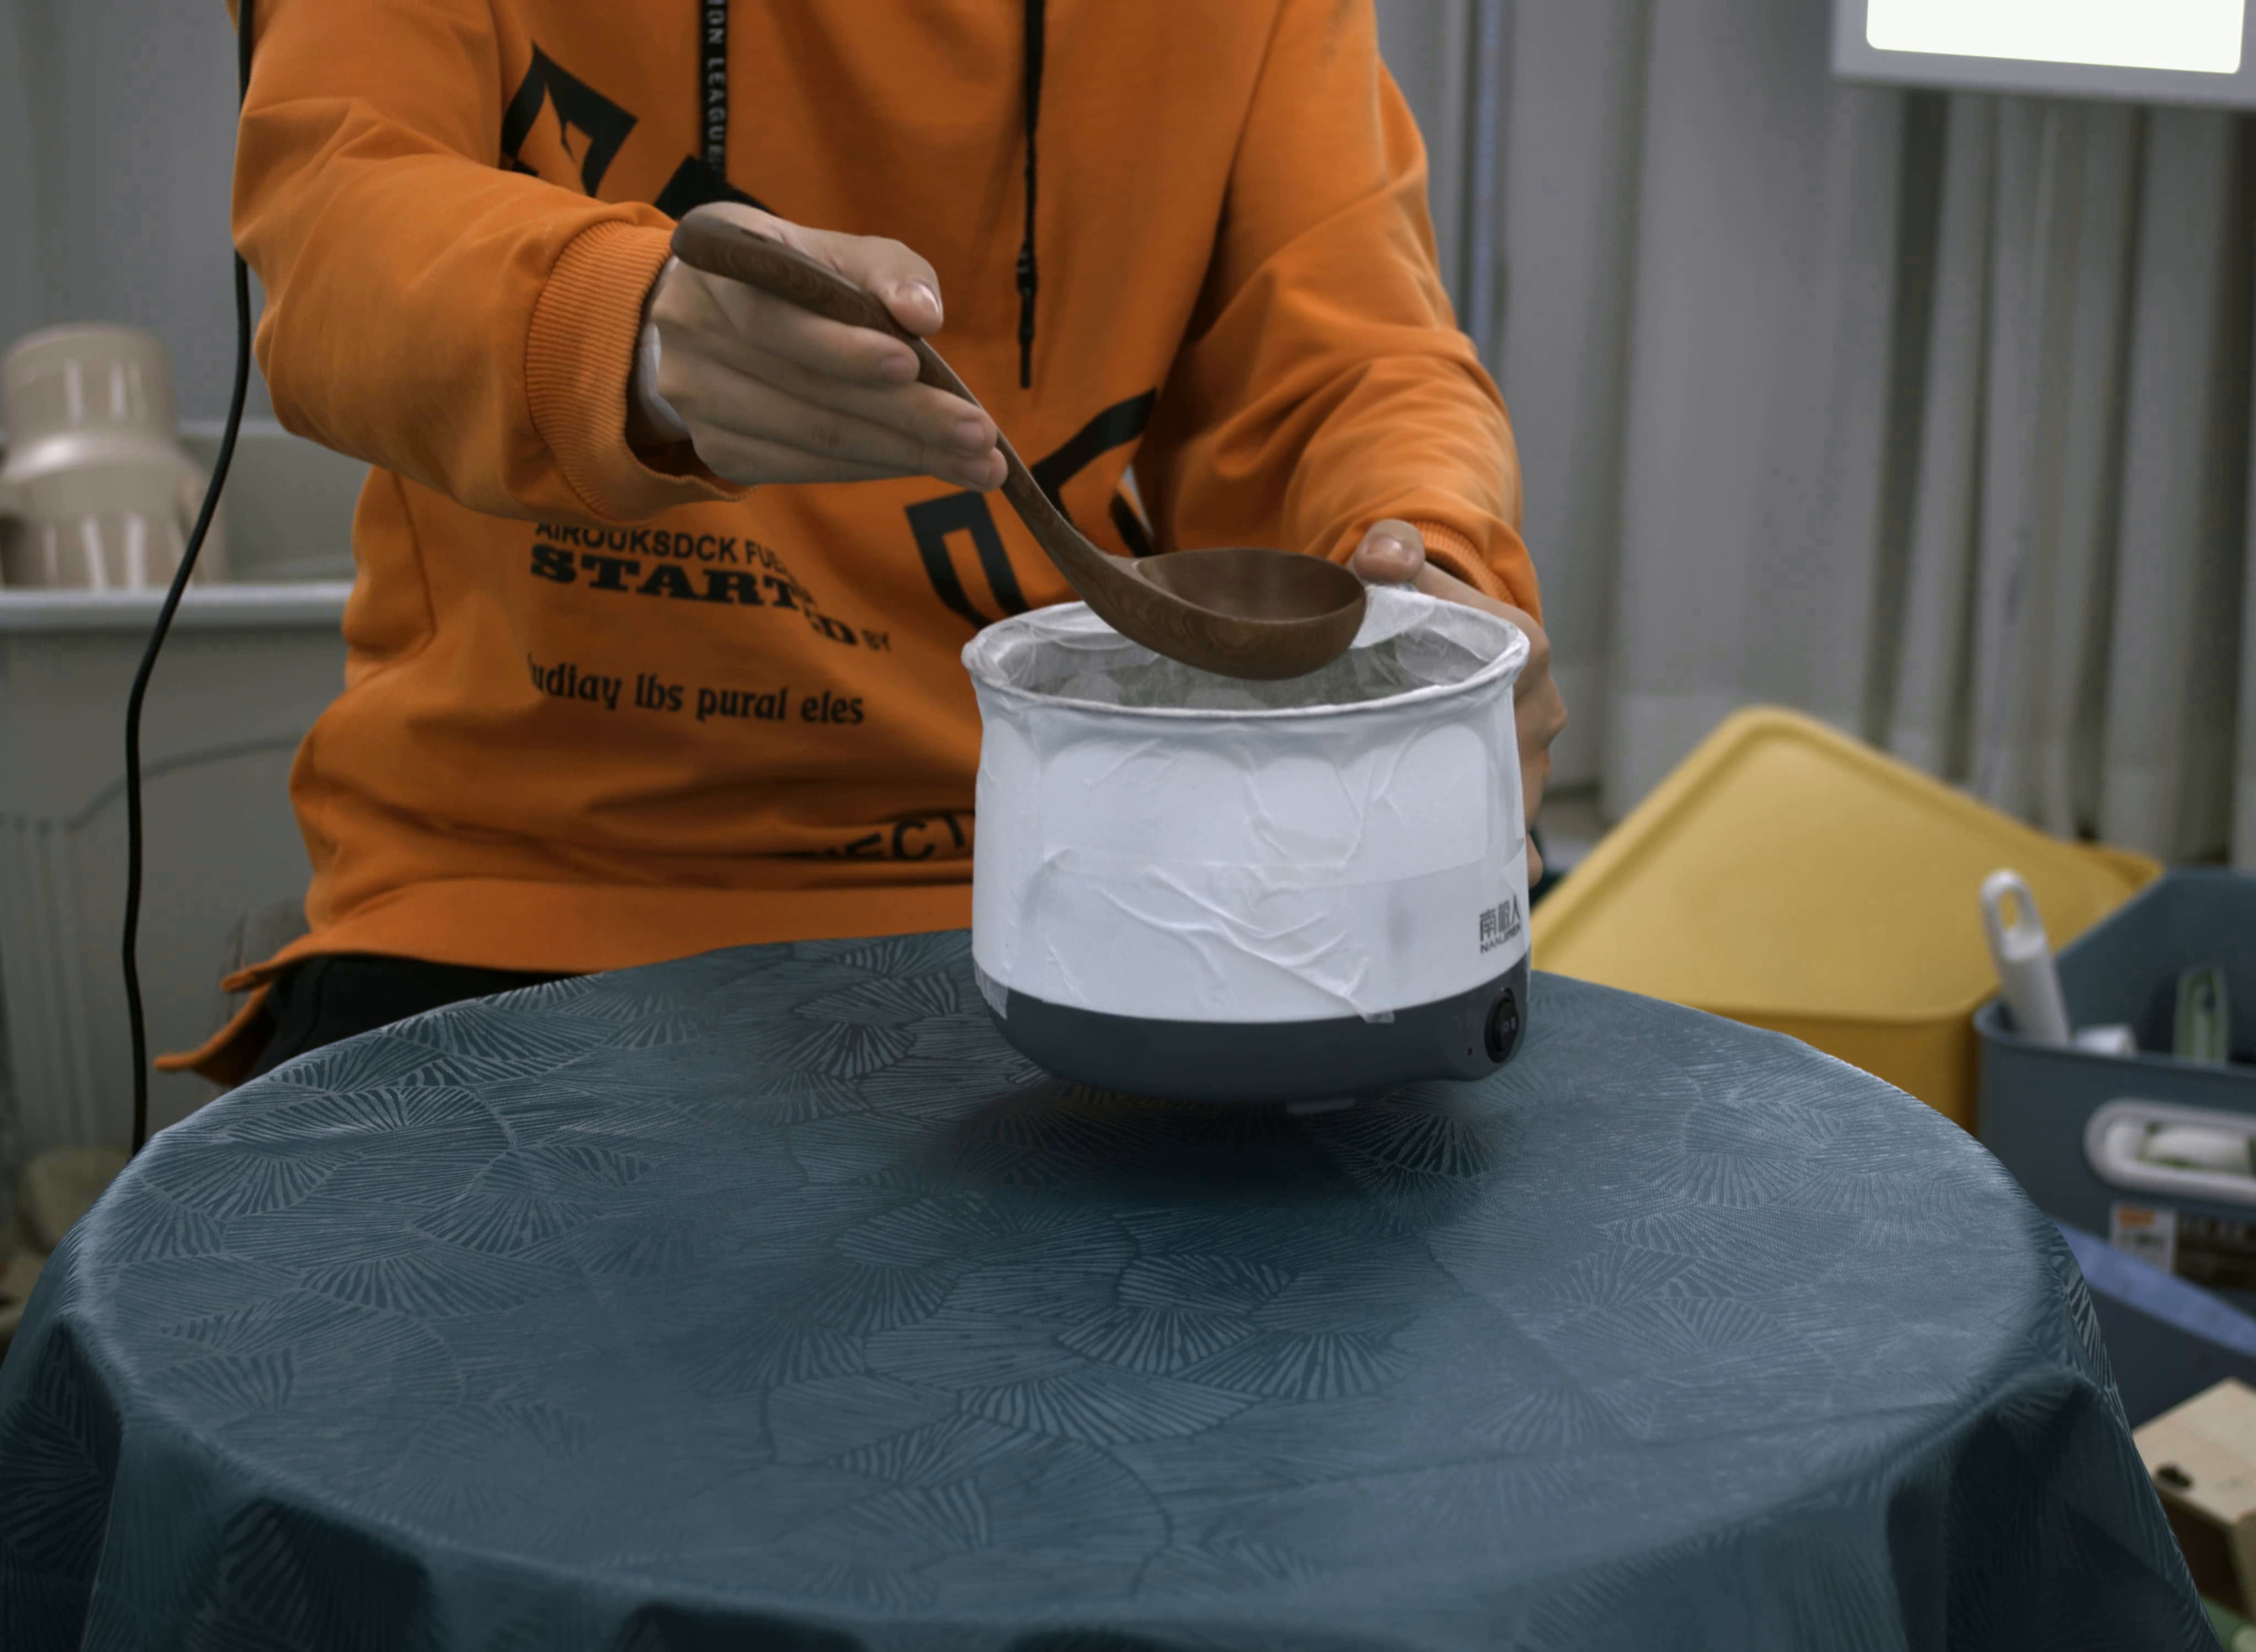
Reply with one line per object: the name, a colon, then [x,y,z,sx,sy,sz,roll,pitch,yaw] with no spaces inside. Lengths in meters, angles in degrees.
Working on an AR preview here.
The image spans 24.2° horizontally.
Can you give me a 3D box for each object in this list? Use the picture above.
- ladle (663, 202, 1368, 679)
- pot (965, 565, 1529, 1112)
ladle: [-0.030,-0.124,1.587,0.263,0.065,0.075,40,-4,-30]
pot: [0.050,-0.003,1.679,0.177,0.138,0.234,7,17,26]
